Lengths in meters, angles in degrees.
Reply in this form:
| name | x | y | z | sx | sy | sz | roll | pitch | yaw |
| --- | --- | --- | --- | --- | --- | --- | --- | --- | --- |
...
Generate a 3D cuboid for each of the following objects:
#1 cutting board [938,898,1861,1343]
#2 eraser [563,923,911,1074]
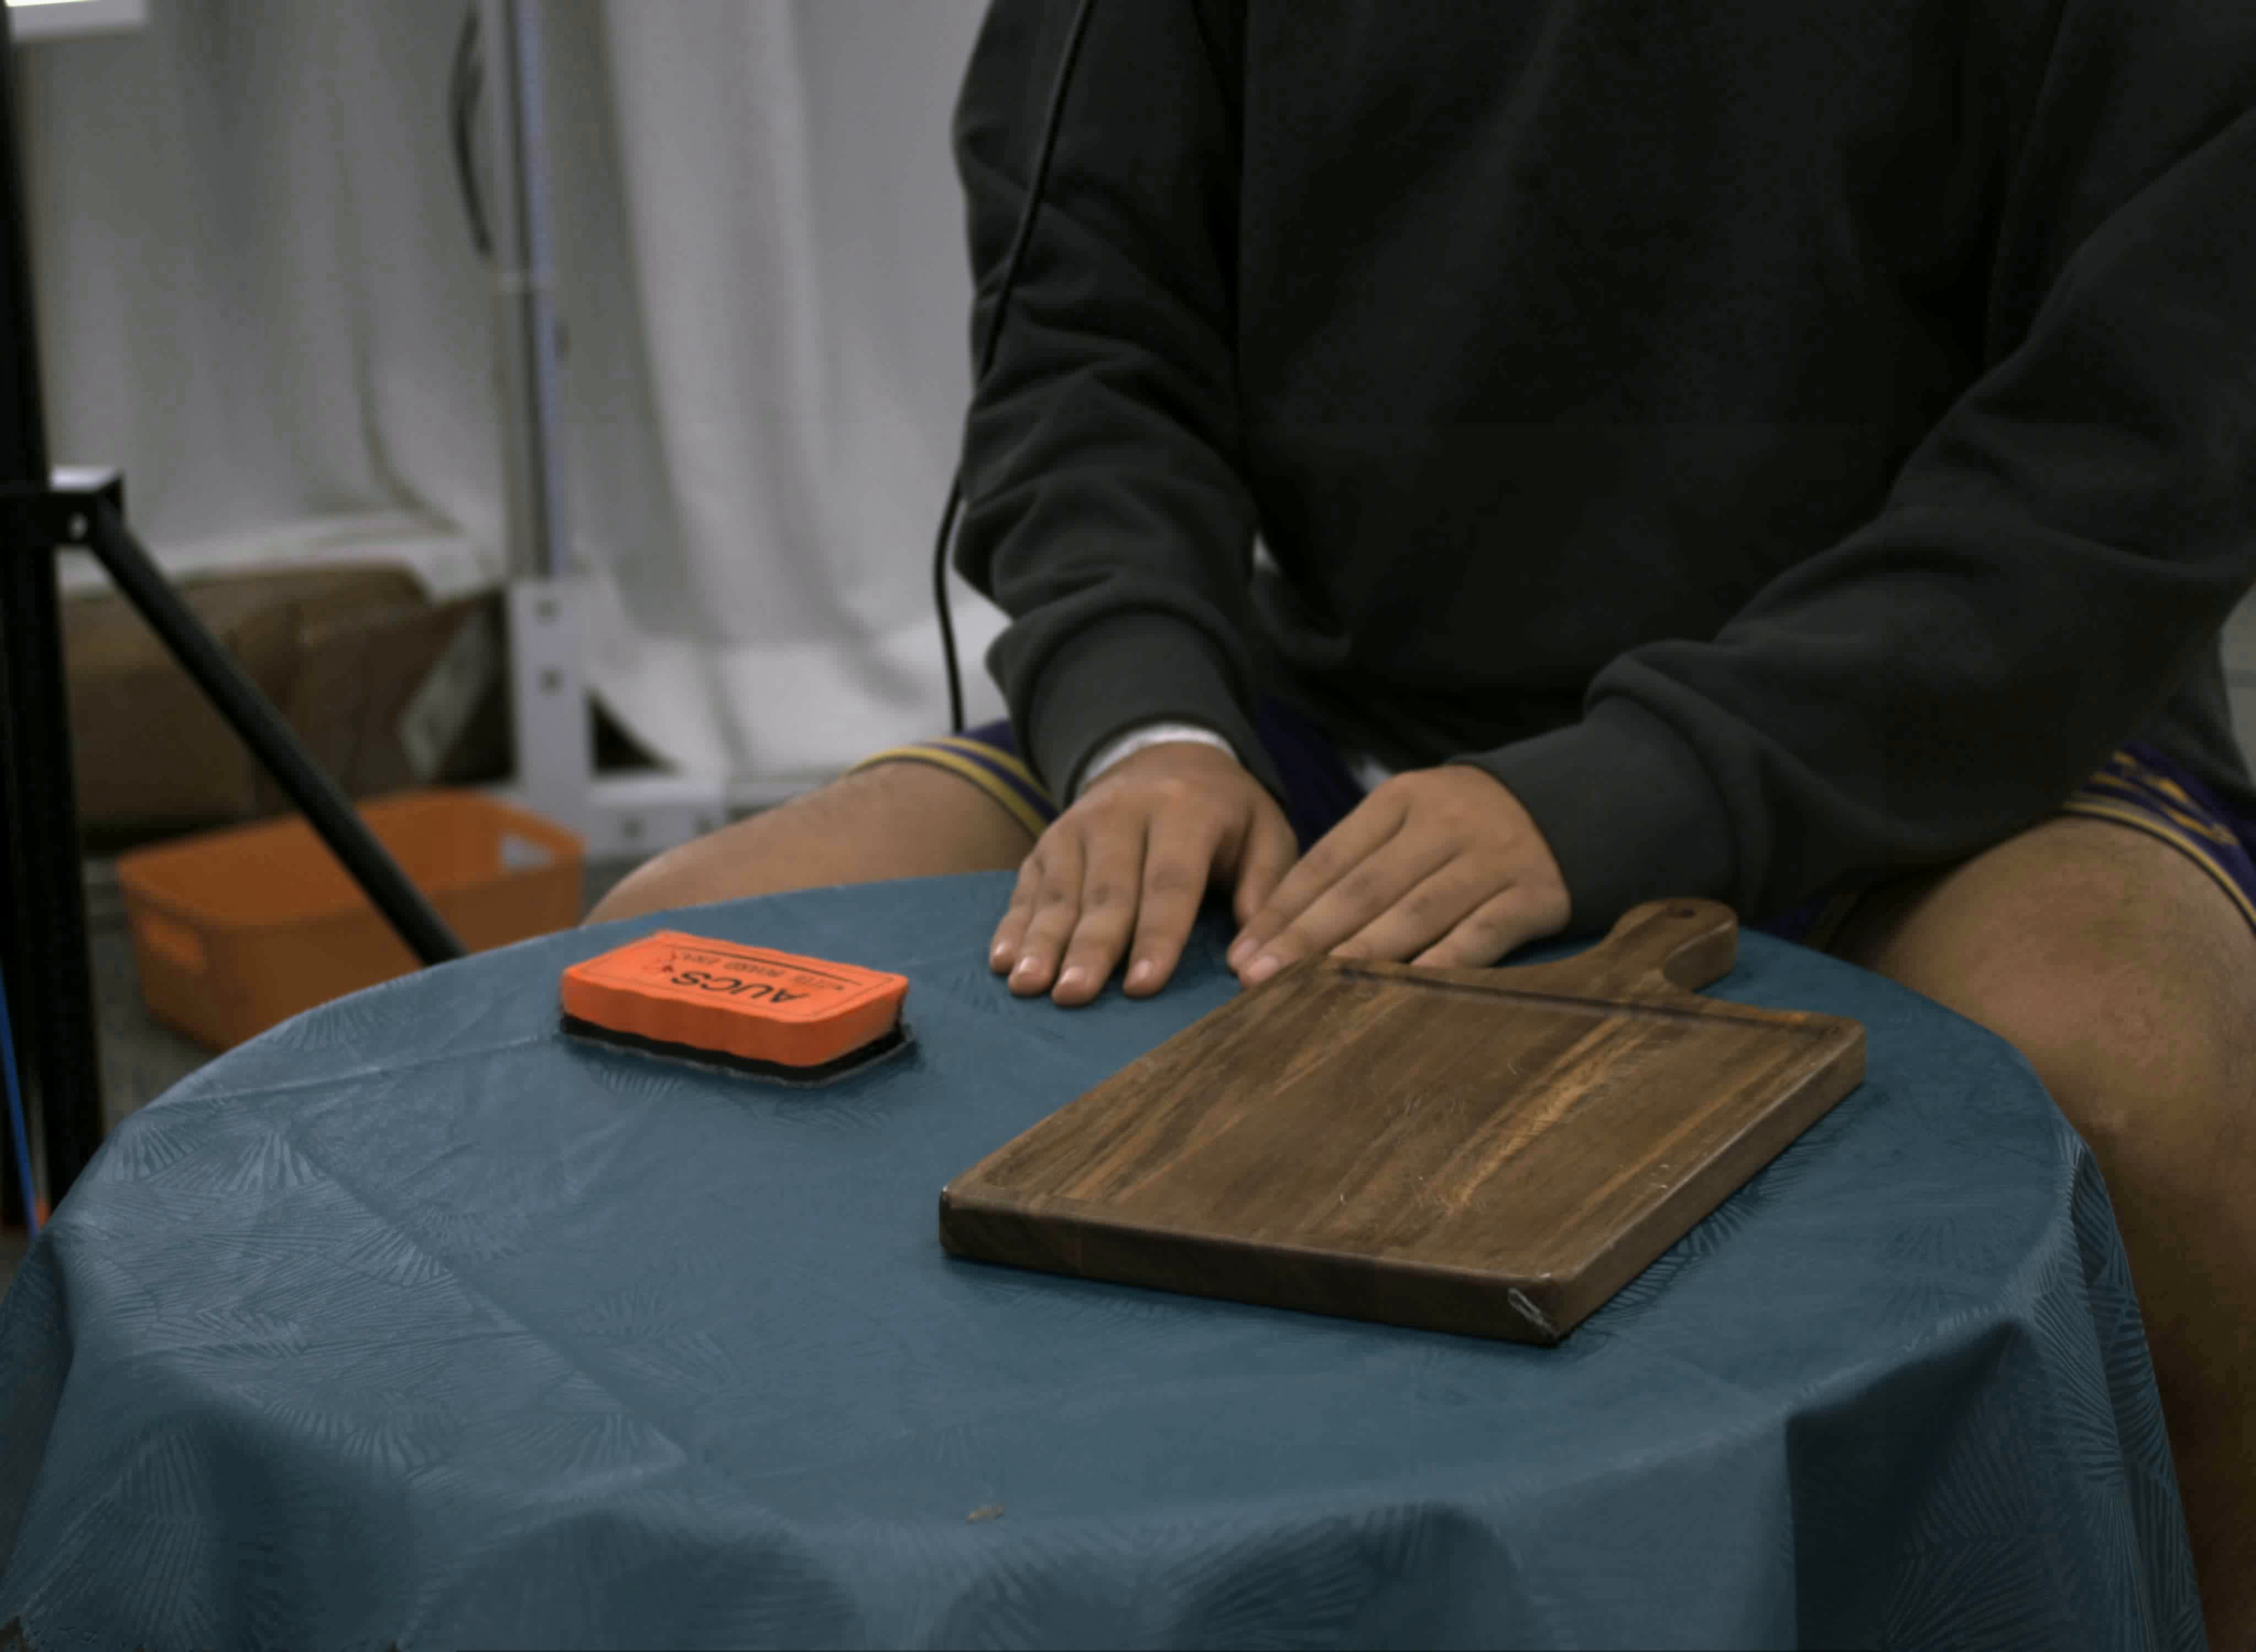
| name | x | y | z | sx | sy | sz | roll | pitch | yaw |
| --- | --- | --- | --- | --- | --- | --- | --- | --- | --- |
| cutting board | 0.108 | 0.079 | 1.609 | 0.204 | 0.023 | 0.346 | 6 | 17 | 27 |
| eraser | -0.126 | 0.055 | 1.712 | 0.110 | 0.023 | 0.058 | 8 | 20 | 37 |
